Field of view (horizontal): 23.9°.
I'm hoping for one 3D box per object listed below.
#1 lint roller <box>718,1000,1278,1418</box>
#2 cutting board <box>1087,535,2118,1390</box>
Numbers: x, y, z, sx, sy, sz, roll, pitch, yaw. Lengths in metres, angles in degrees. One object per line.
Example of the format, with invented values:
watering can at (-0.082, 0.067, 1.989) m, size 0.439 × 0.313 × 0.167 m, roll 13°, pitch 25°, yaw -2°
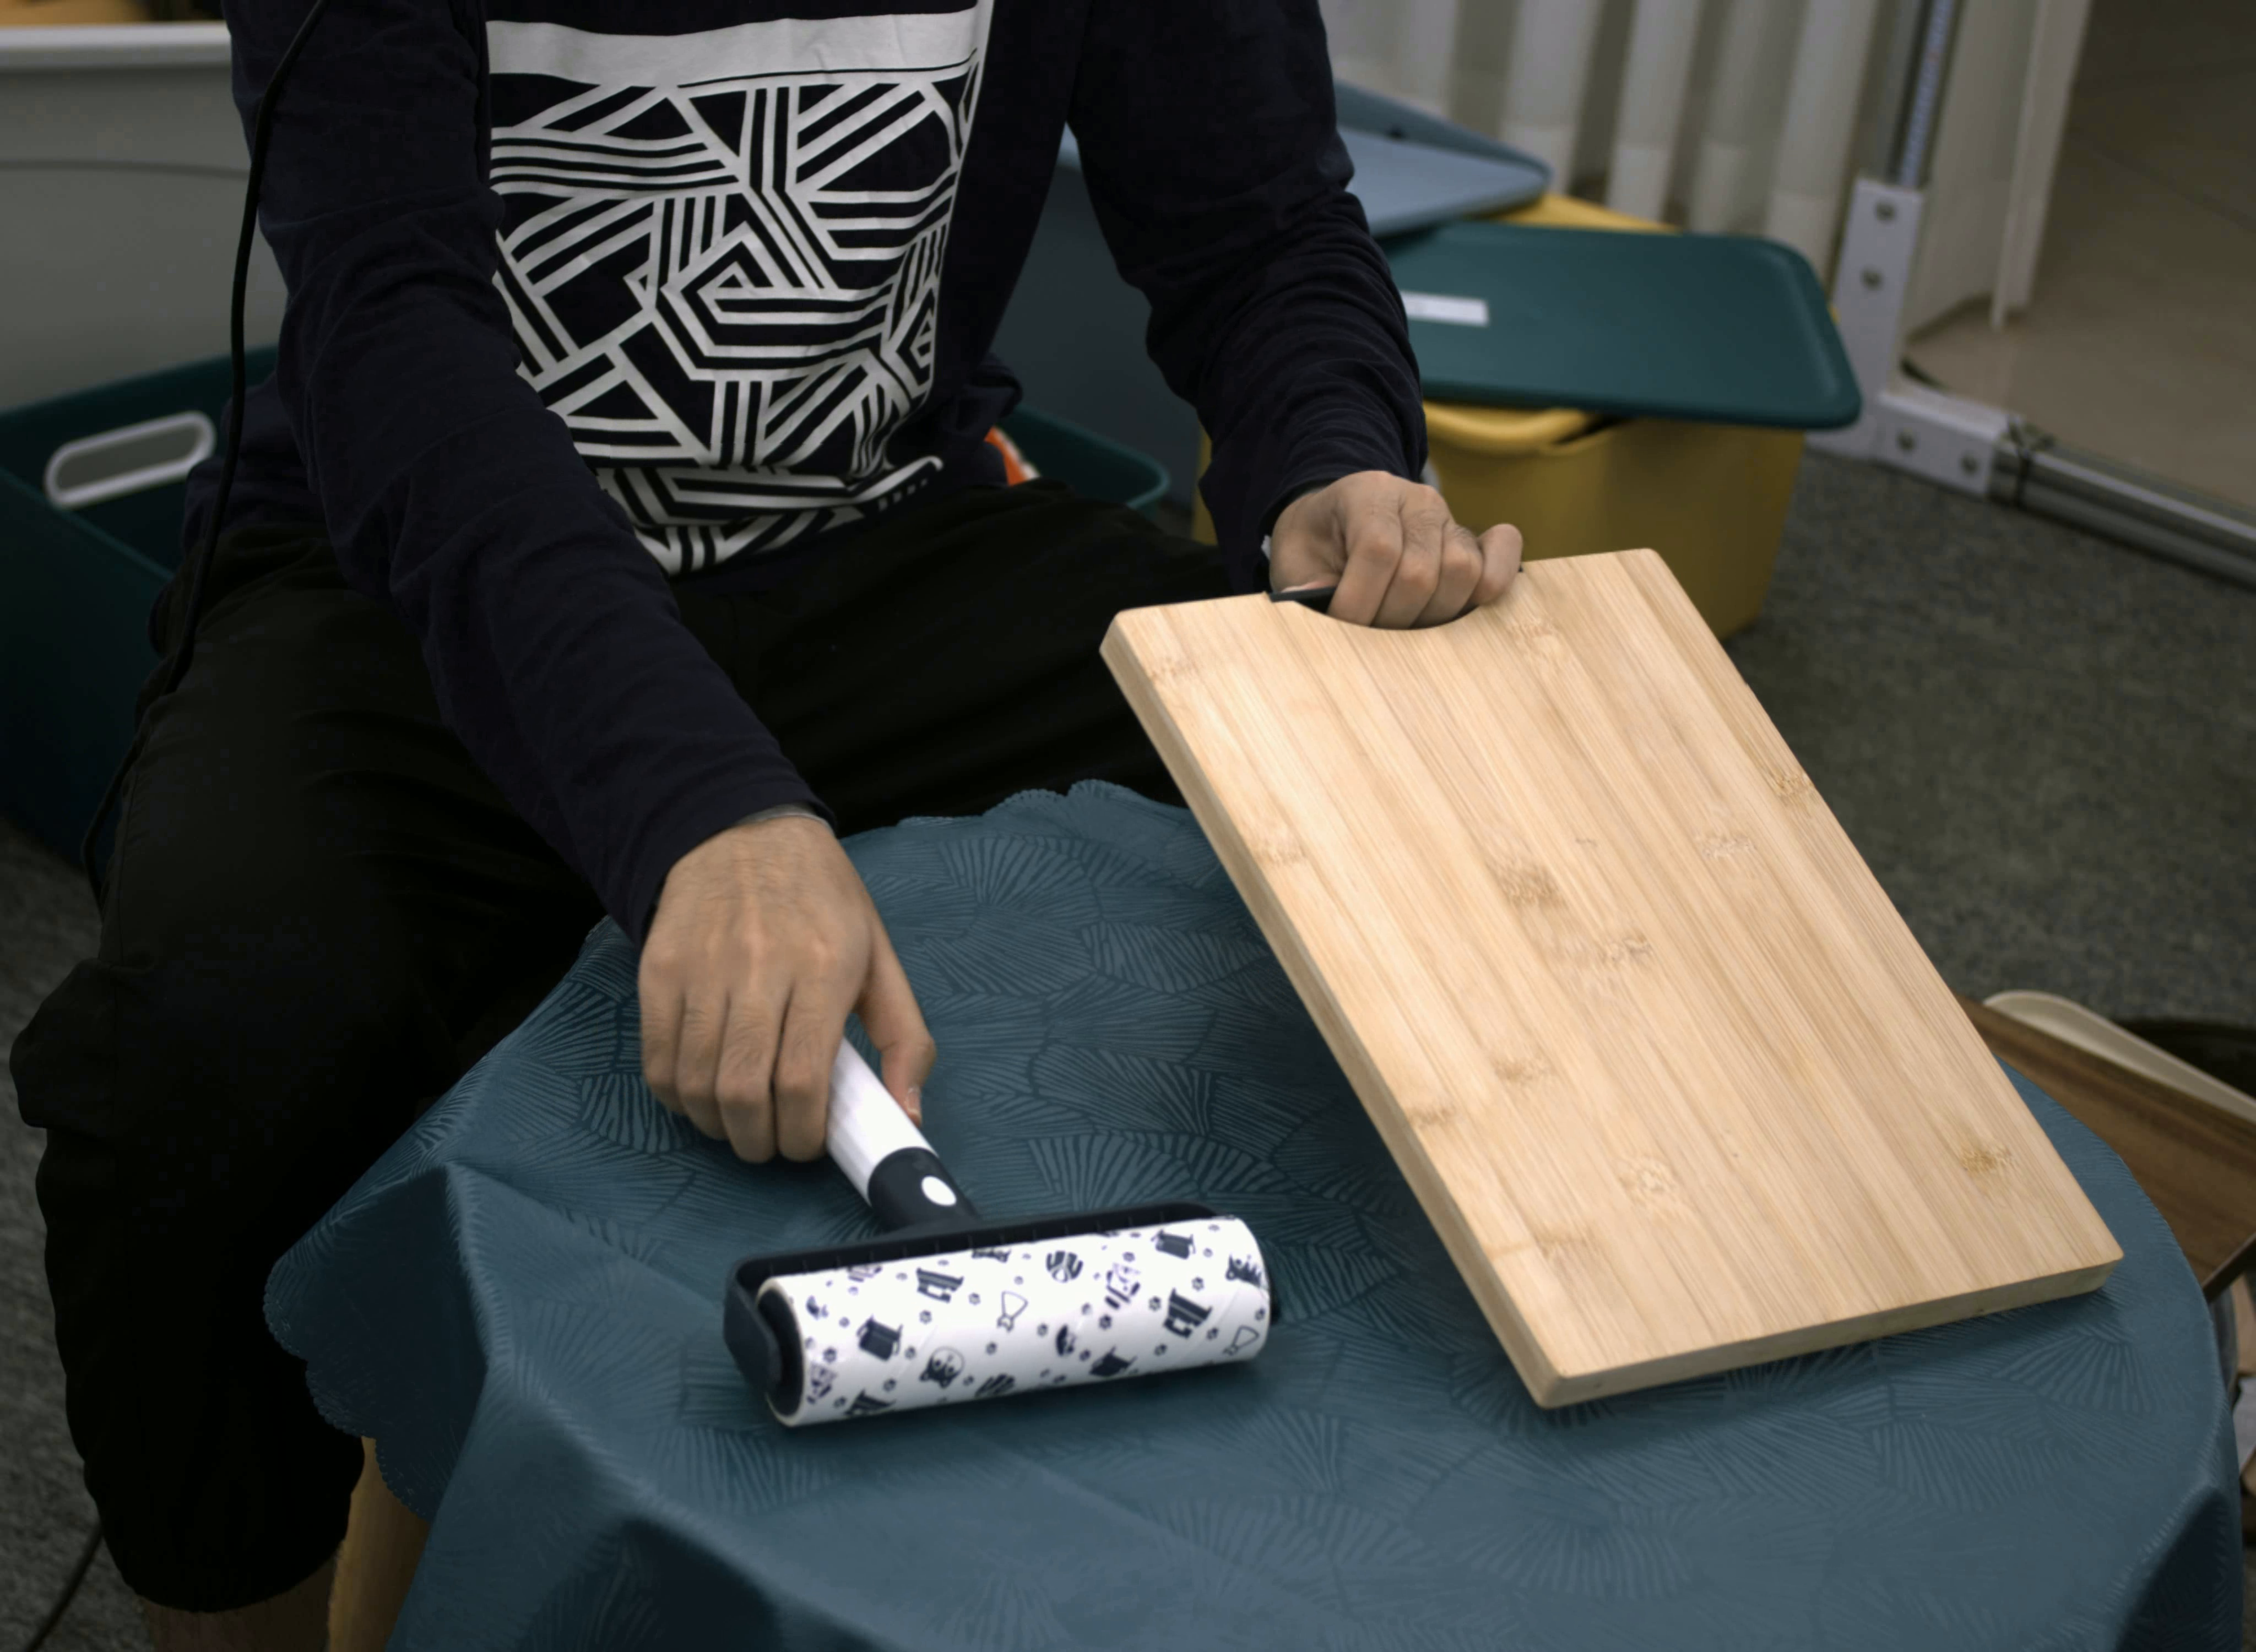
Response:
lint roller at (-0.079, 0.112, 1.765) m, size 0.175 × 0.050 × 0.249 m, roll -7°, pitch 27°, yaw -23°
cutting board at (0.160, 0.039, 1.844) m, size 0.249 × 0.023 × 0.352 m, roll -8°, pitch 52°, yaw -31°
